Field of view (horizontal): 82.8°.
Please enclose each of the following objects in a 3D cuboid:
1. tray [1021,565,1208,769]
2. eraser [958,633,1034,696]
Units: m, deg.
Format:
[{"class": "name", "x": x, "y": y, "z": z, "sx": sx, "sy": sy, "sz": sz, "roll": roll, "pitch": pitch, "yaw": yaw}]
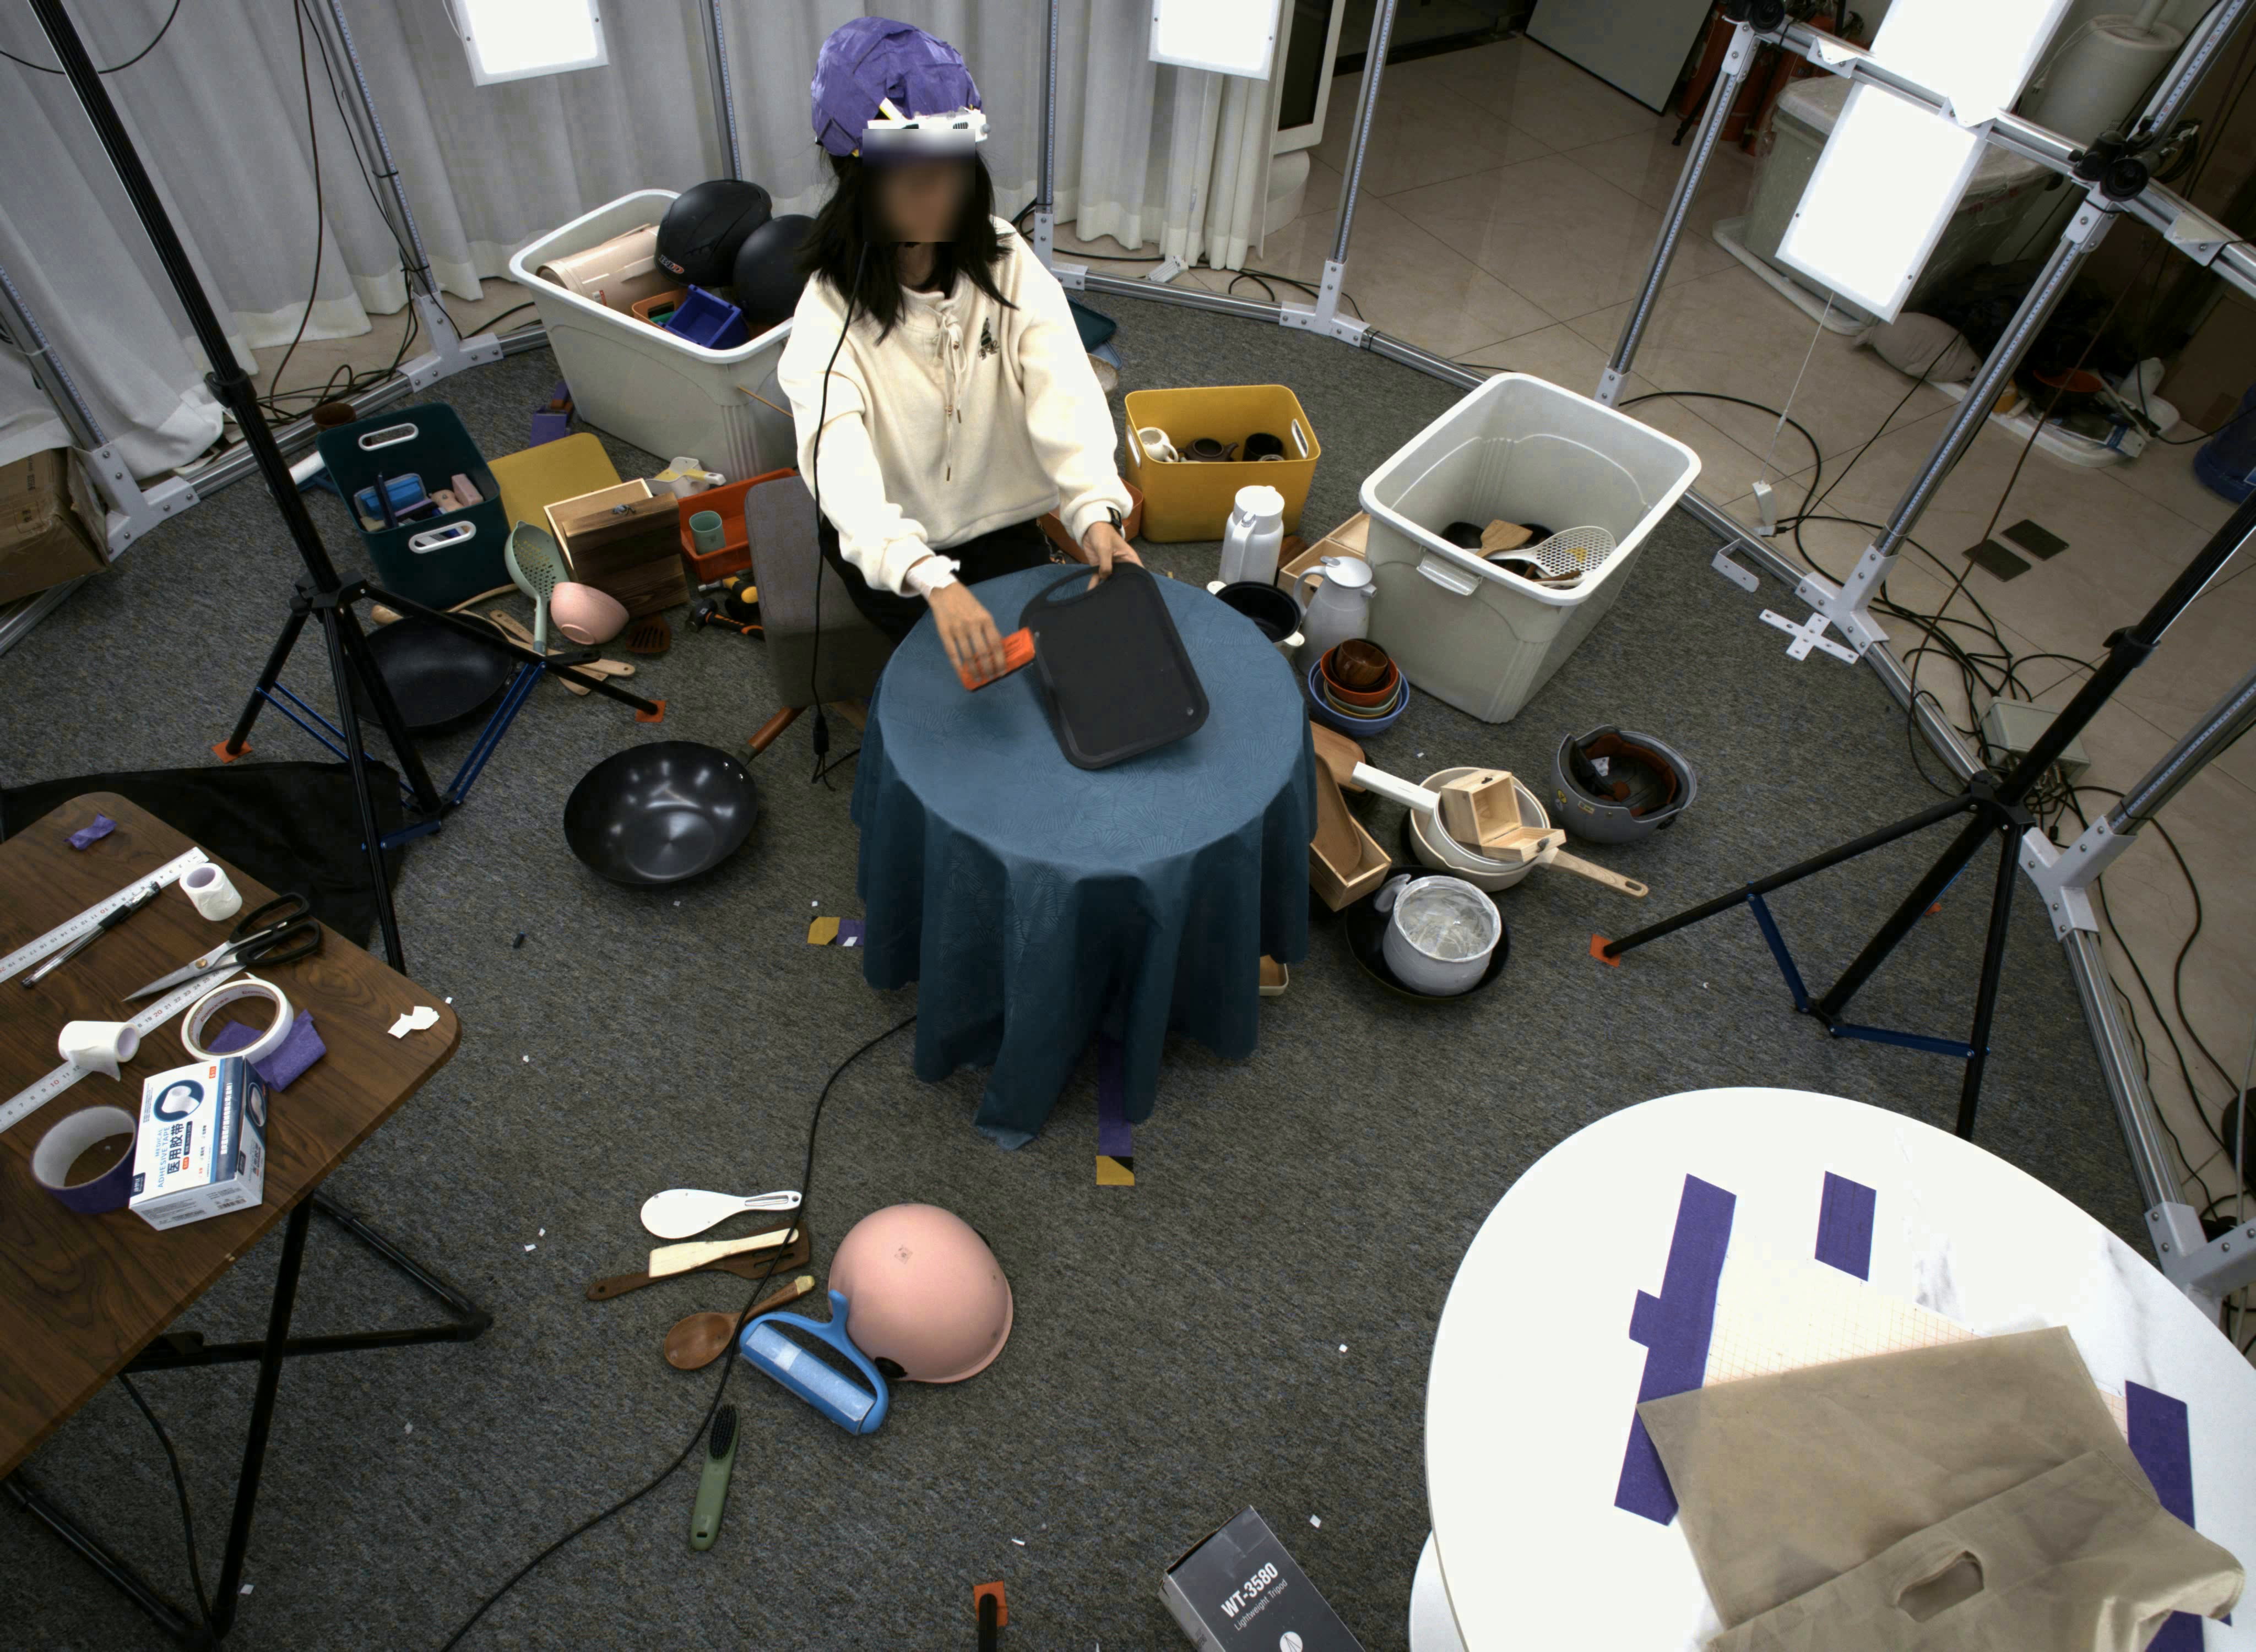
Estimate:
[{"class": "tray", "x": -0.028, "y": -0.235, "z": 1.807, "sx": 0.211, "sy": 0.009, "sz": 0.332, "roll": -21, "pitch": 60, "yaw": 1}, {"class": "eraser", "x": -0.179, "y": -0.220, "z": 1.752, "sx": 0.107, "sy": 0.022, "sz": 0.060, "roll": -22, "pitch": 42, "yaw": 20}]
